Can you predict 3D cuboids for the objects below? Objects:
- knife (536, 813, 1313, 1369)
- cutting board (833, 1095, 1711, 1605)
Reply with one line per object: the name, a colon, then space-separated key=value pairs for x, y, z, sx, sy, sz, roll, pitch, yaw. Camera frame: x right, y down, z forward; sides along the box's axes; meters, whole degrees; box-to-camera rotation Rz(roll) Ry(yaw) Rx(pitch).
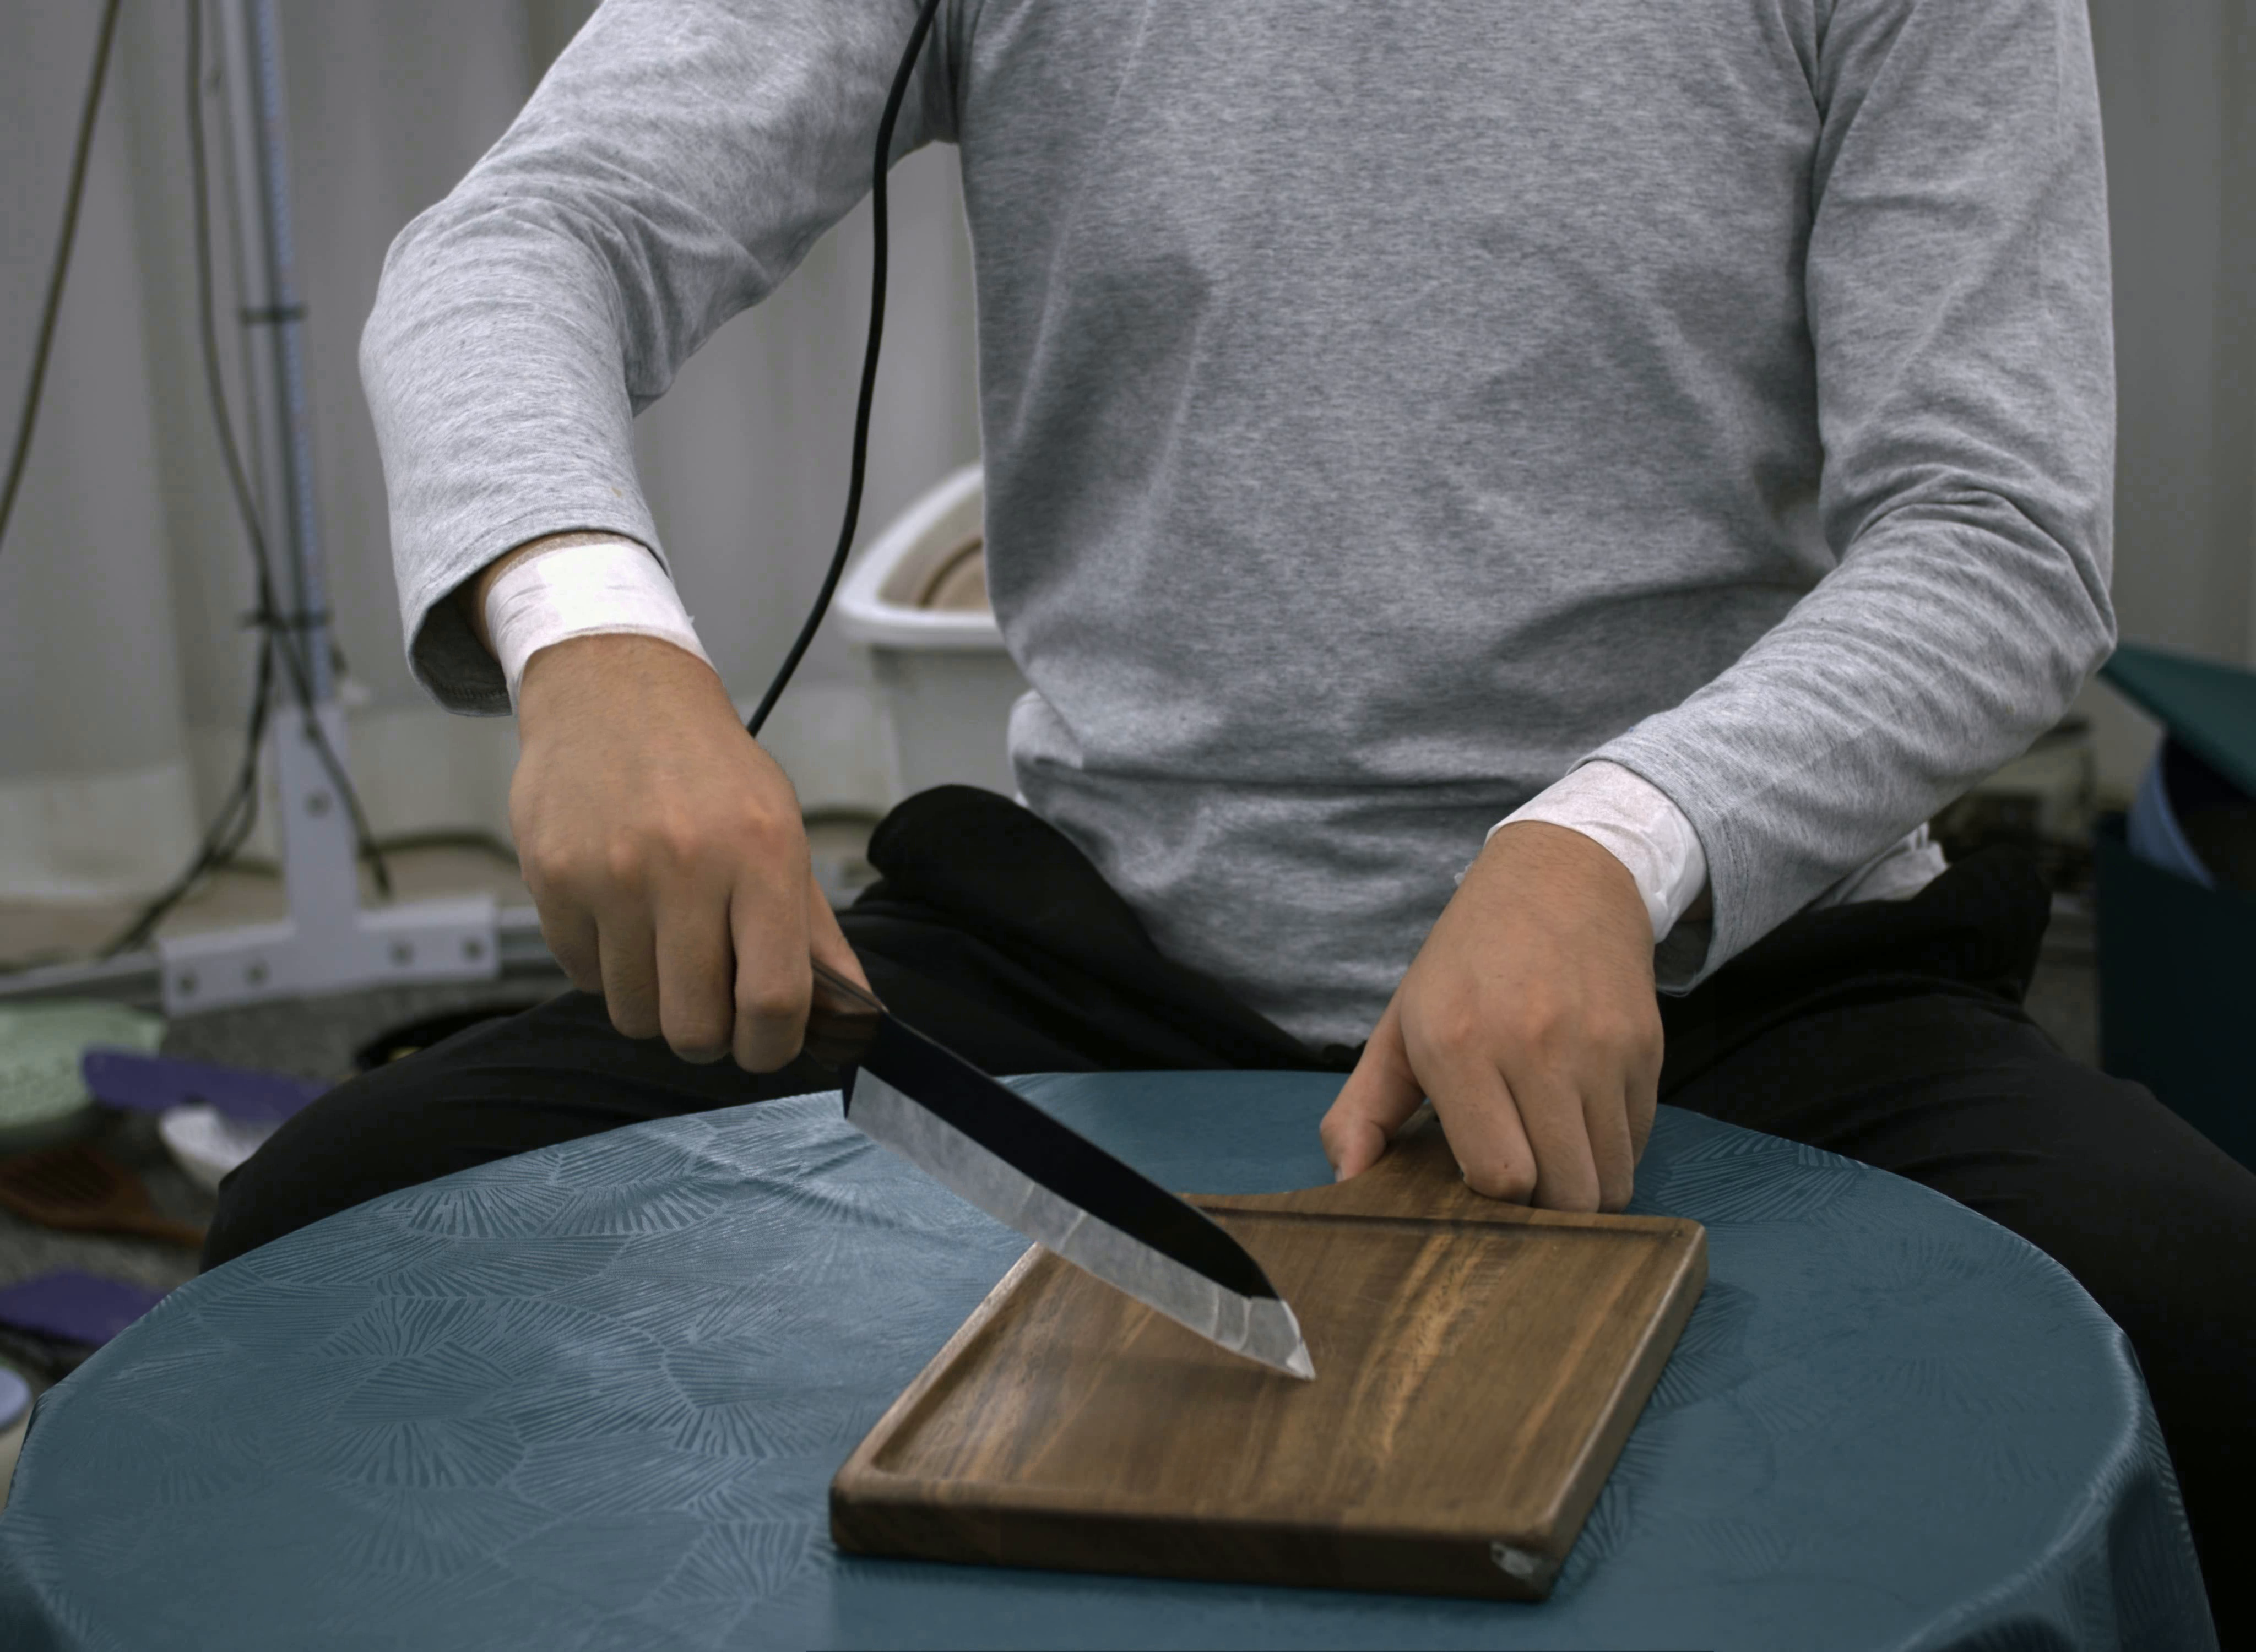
knife: x=-0.060 y=0.074 z=1.560 sx=0.291 sy=0.050 sz=0.020 roll=33 pitch=40 yaw=24
cutting board: x=0.060 y=0.141 z=1.569 sx=0.201 sy=0.023 sz=0.353 roll=2 pitch=16 yaw=16
